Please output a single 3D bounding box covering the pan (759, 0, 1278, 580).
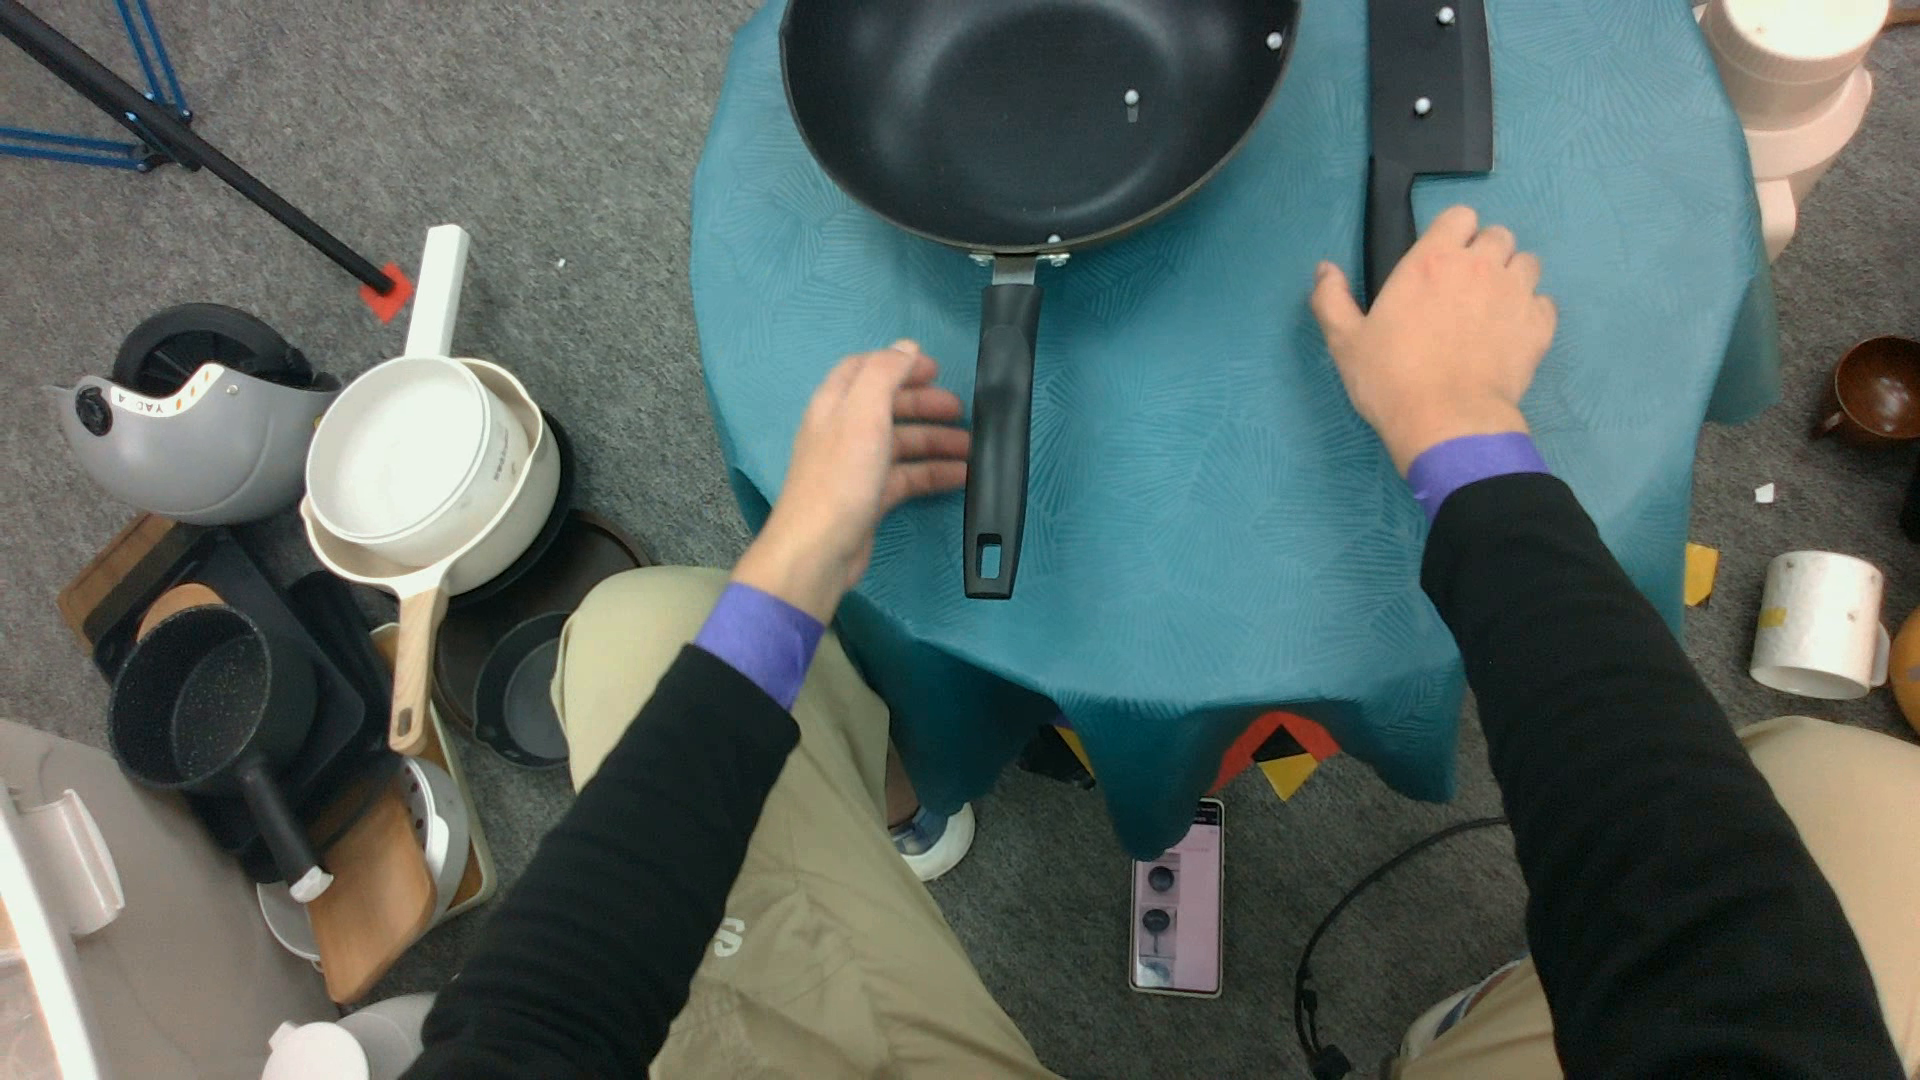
[{"bbox_3d":[0.026,-0.195,0.765,0.288,0.087,0.464,2,74,10],"label":"pan"}]

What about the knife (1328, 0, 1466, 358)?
[{"bbox_3d":[0.246,-0.243,0.780,0.081,0.021,0.303,5,72,9],"label":"knife"}]
